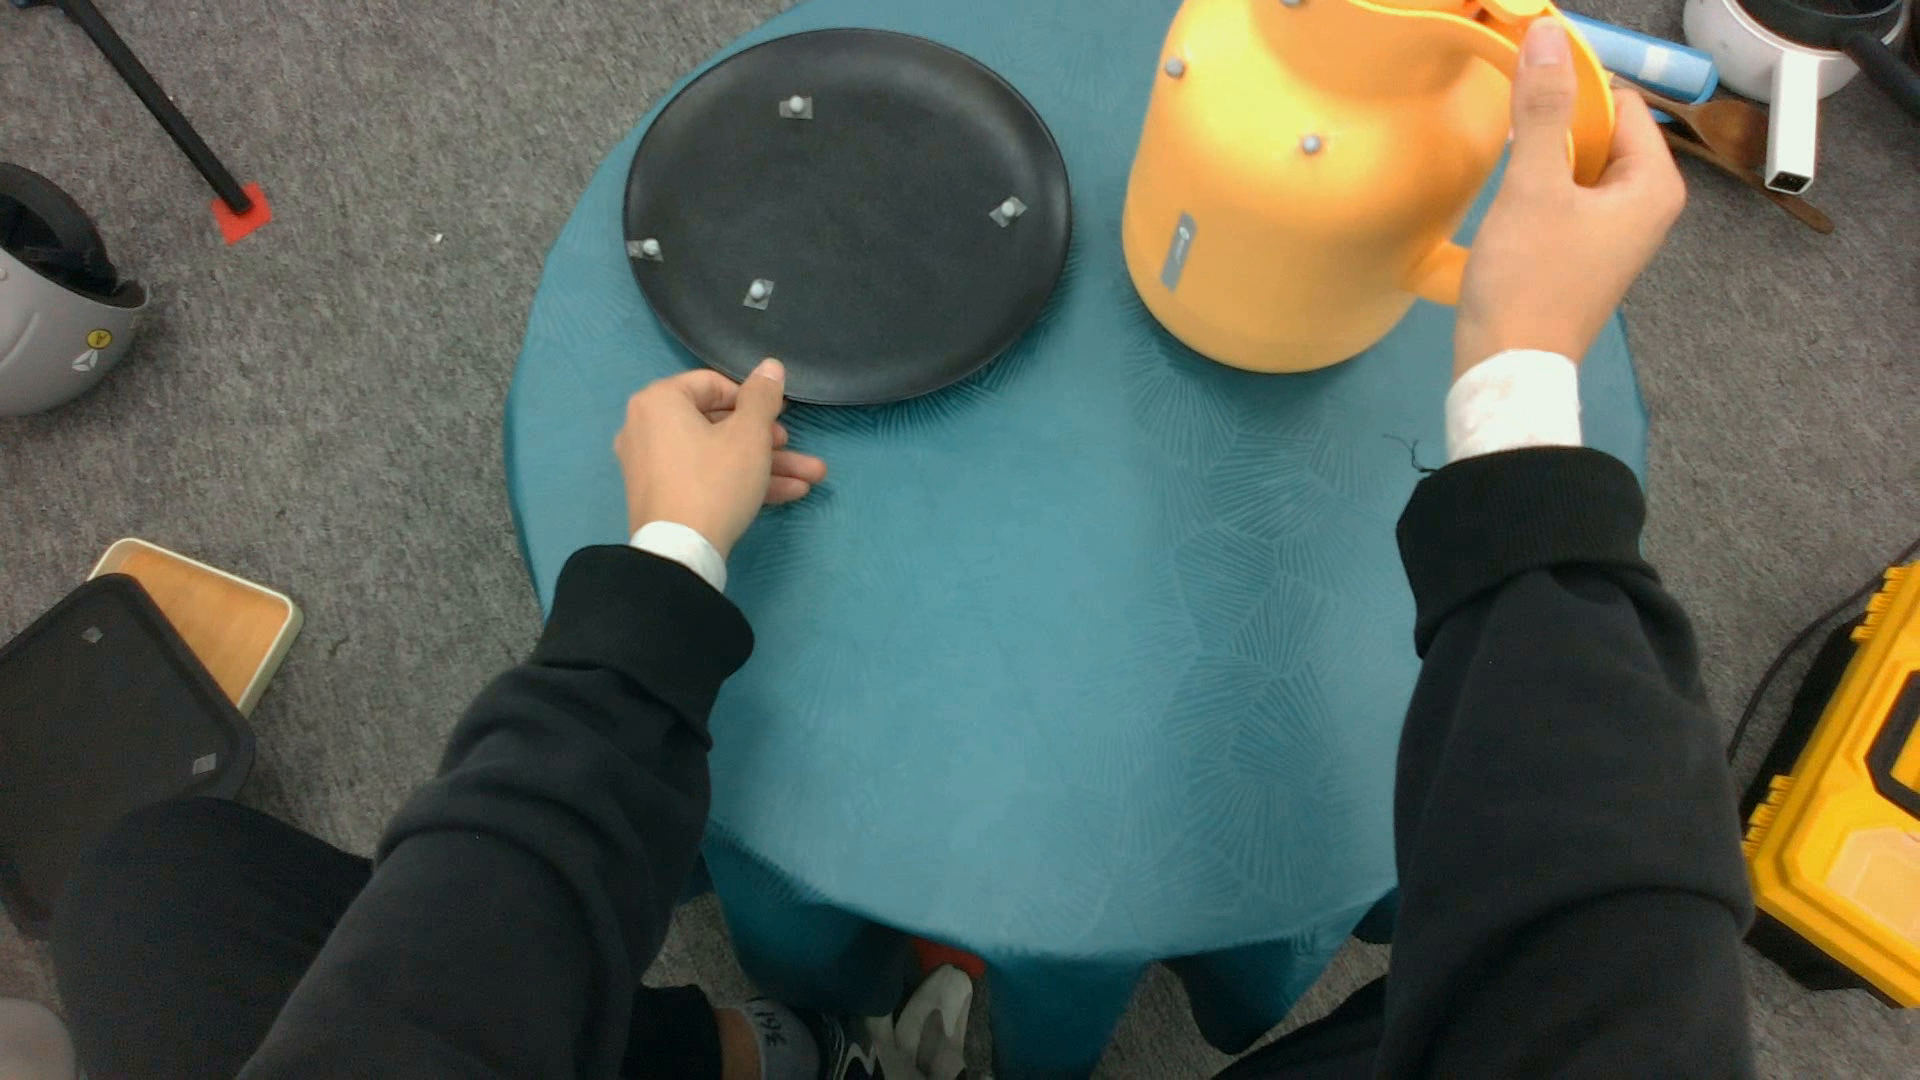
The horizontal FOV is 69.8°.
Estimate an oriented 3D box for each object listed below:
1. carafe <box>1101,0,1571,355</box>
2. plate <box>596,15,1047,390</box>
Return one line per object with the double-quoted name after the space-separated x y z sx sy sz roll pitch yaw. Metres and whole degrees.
0.168 -0.194 0.642 0.164 0.259 0.202 -37 73 -13 "carafe"
-0.075 -0.186 0.754 0.244 0.023 0.245 1 67 -2 "plate"
